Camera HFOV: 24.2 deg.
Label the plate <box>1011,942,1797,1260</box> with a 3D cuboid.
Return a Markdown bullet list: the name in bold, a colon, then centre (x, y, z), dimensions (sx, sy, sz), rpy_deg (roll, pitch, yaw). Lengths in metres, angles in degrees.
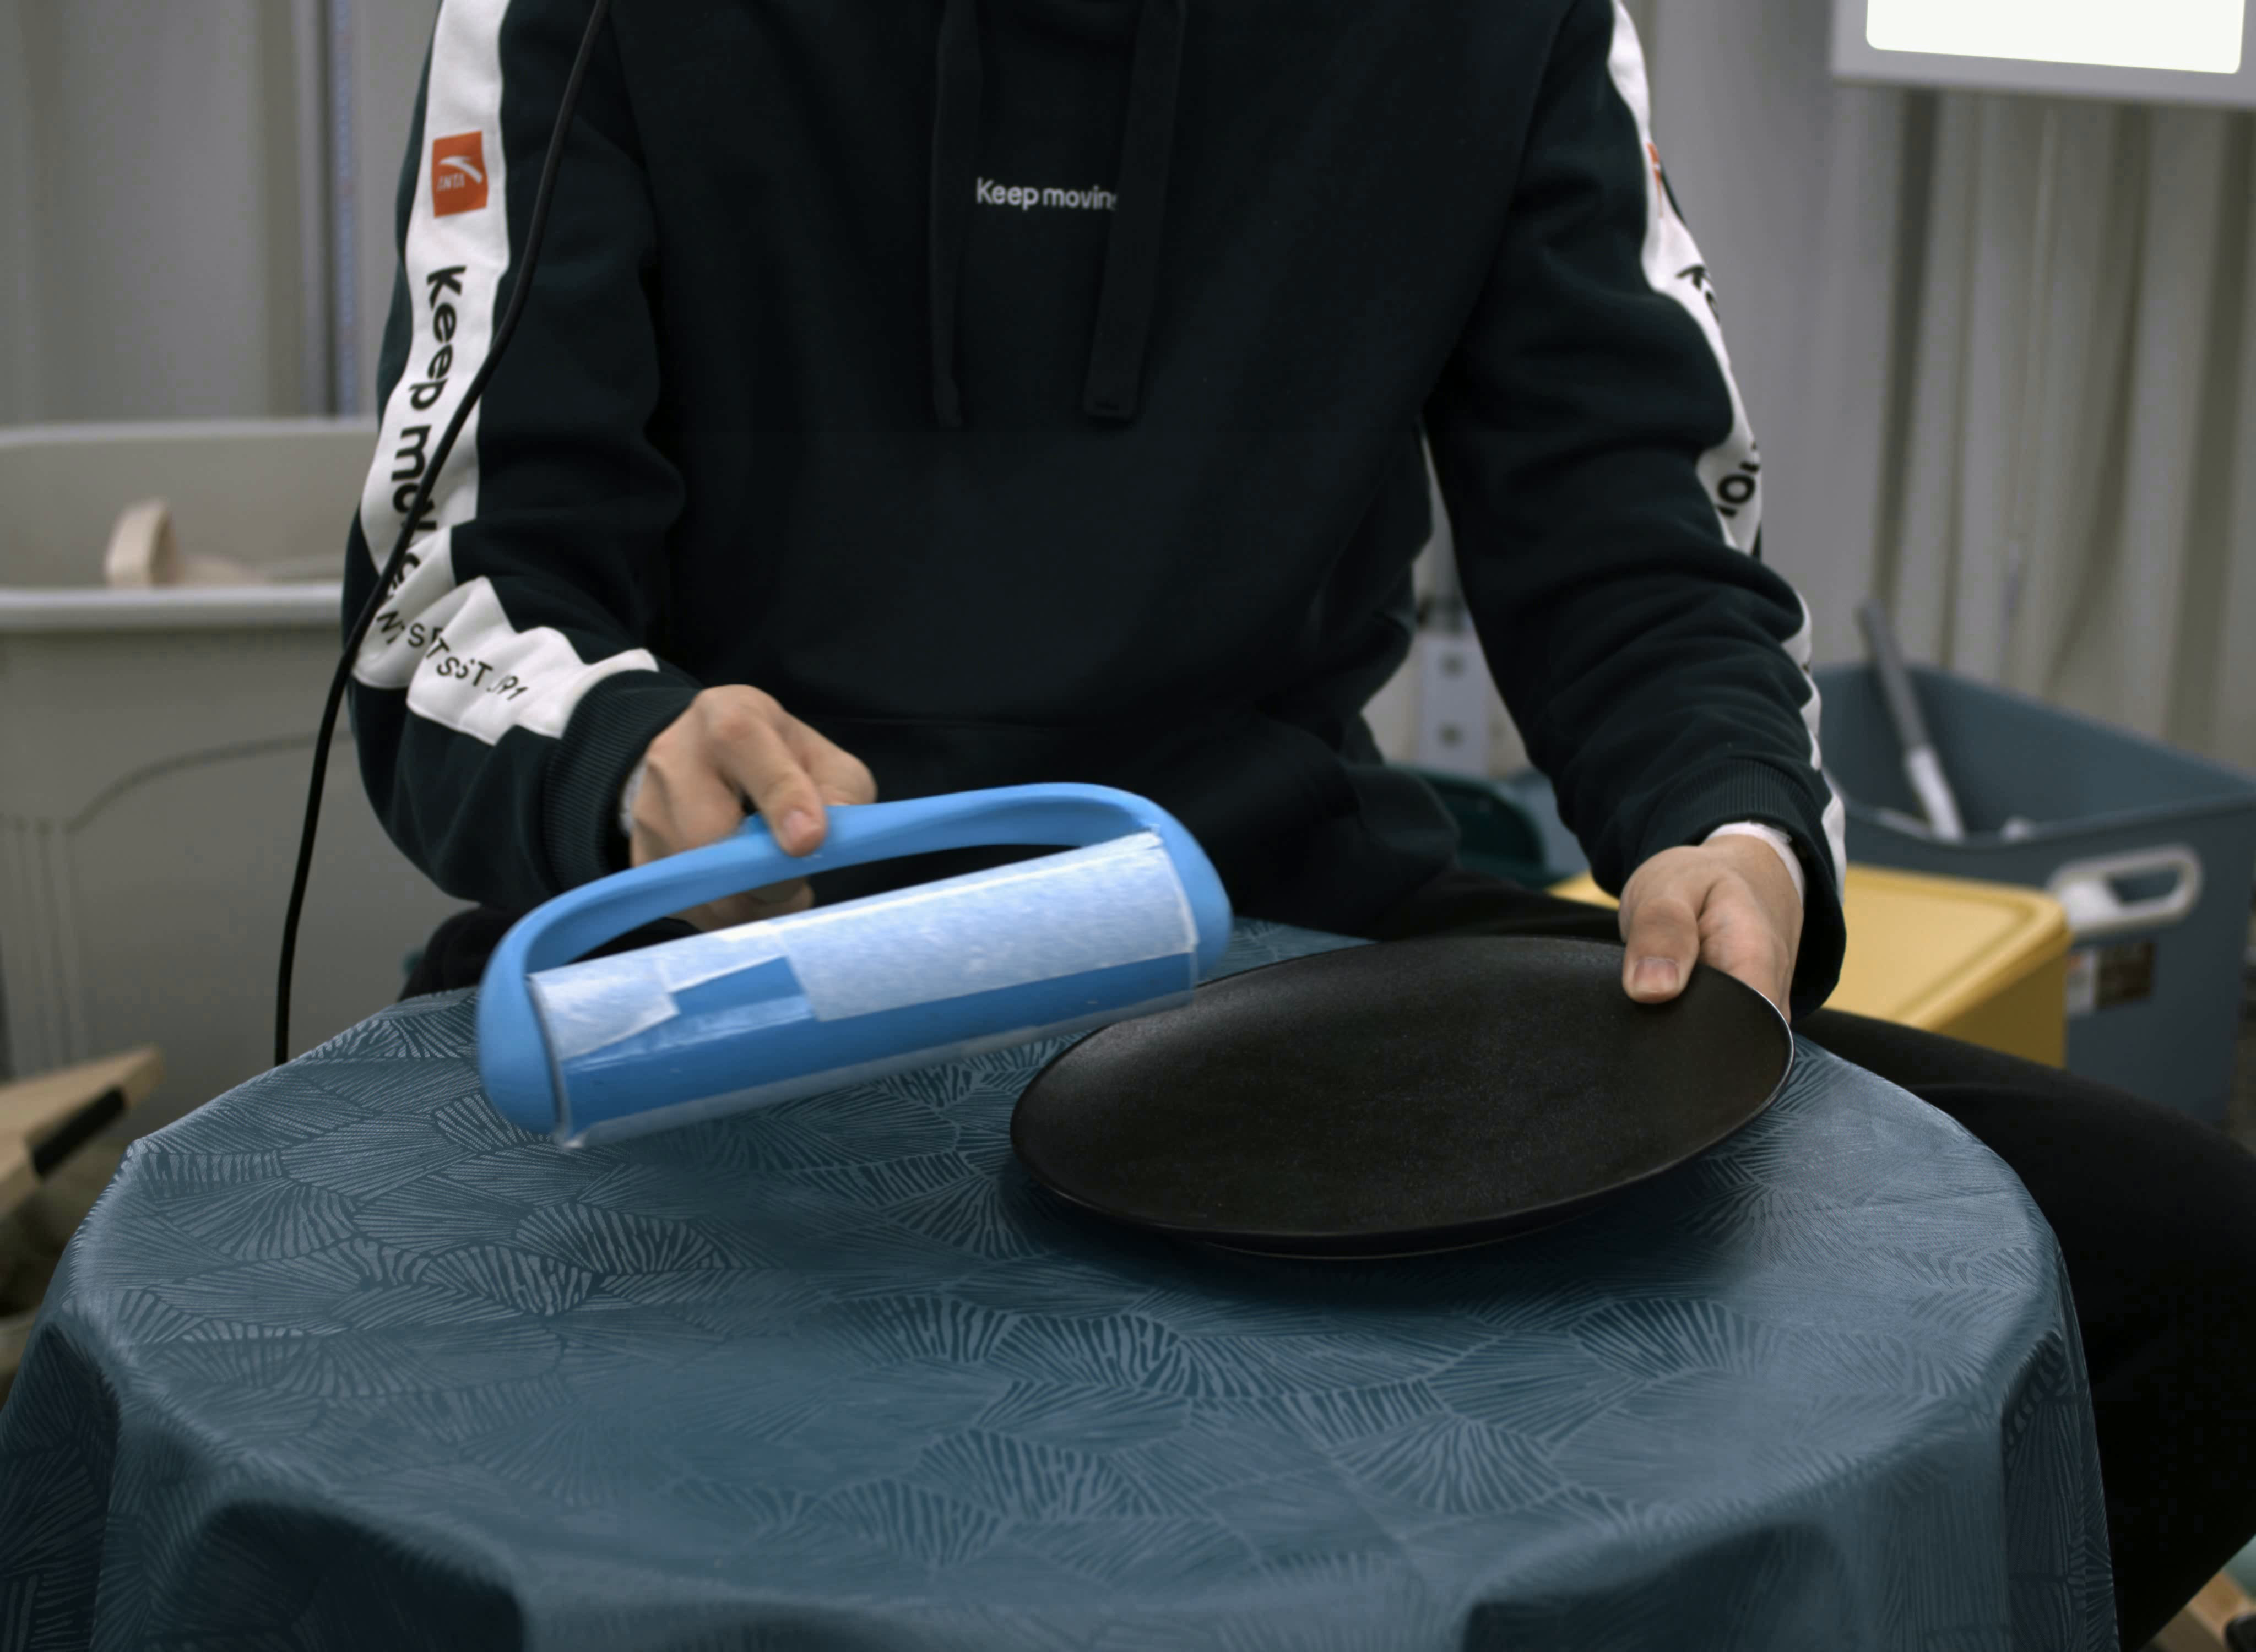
- **plate**: centre (0.085, 0.087, 1.625), dimensions (0.243, 0.023, 0.243), rpy_deg (-6, 18, 3)

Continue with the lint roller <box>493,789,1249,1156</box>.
- **lint roller**: centre (-0.094, 0.029, 1.593), dimensions (0.229, 0.068, 0.178), rpy_deg (-15, 23, -17)
